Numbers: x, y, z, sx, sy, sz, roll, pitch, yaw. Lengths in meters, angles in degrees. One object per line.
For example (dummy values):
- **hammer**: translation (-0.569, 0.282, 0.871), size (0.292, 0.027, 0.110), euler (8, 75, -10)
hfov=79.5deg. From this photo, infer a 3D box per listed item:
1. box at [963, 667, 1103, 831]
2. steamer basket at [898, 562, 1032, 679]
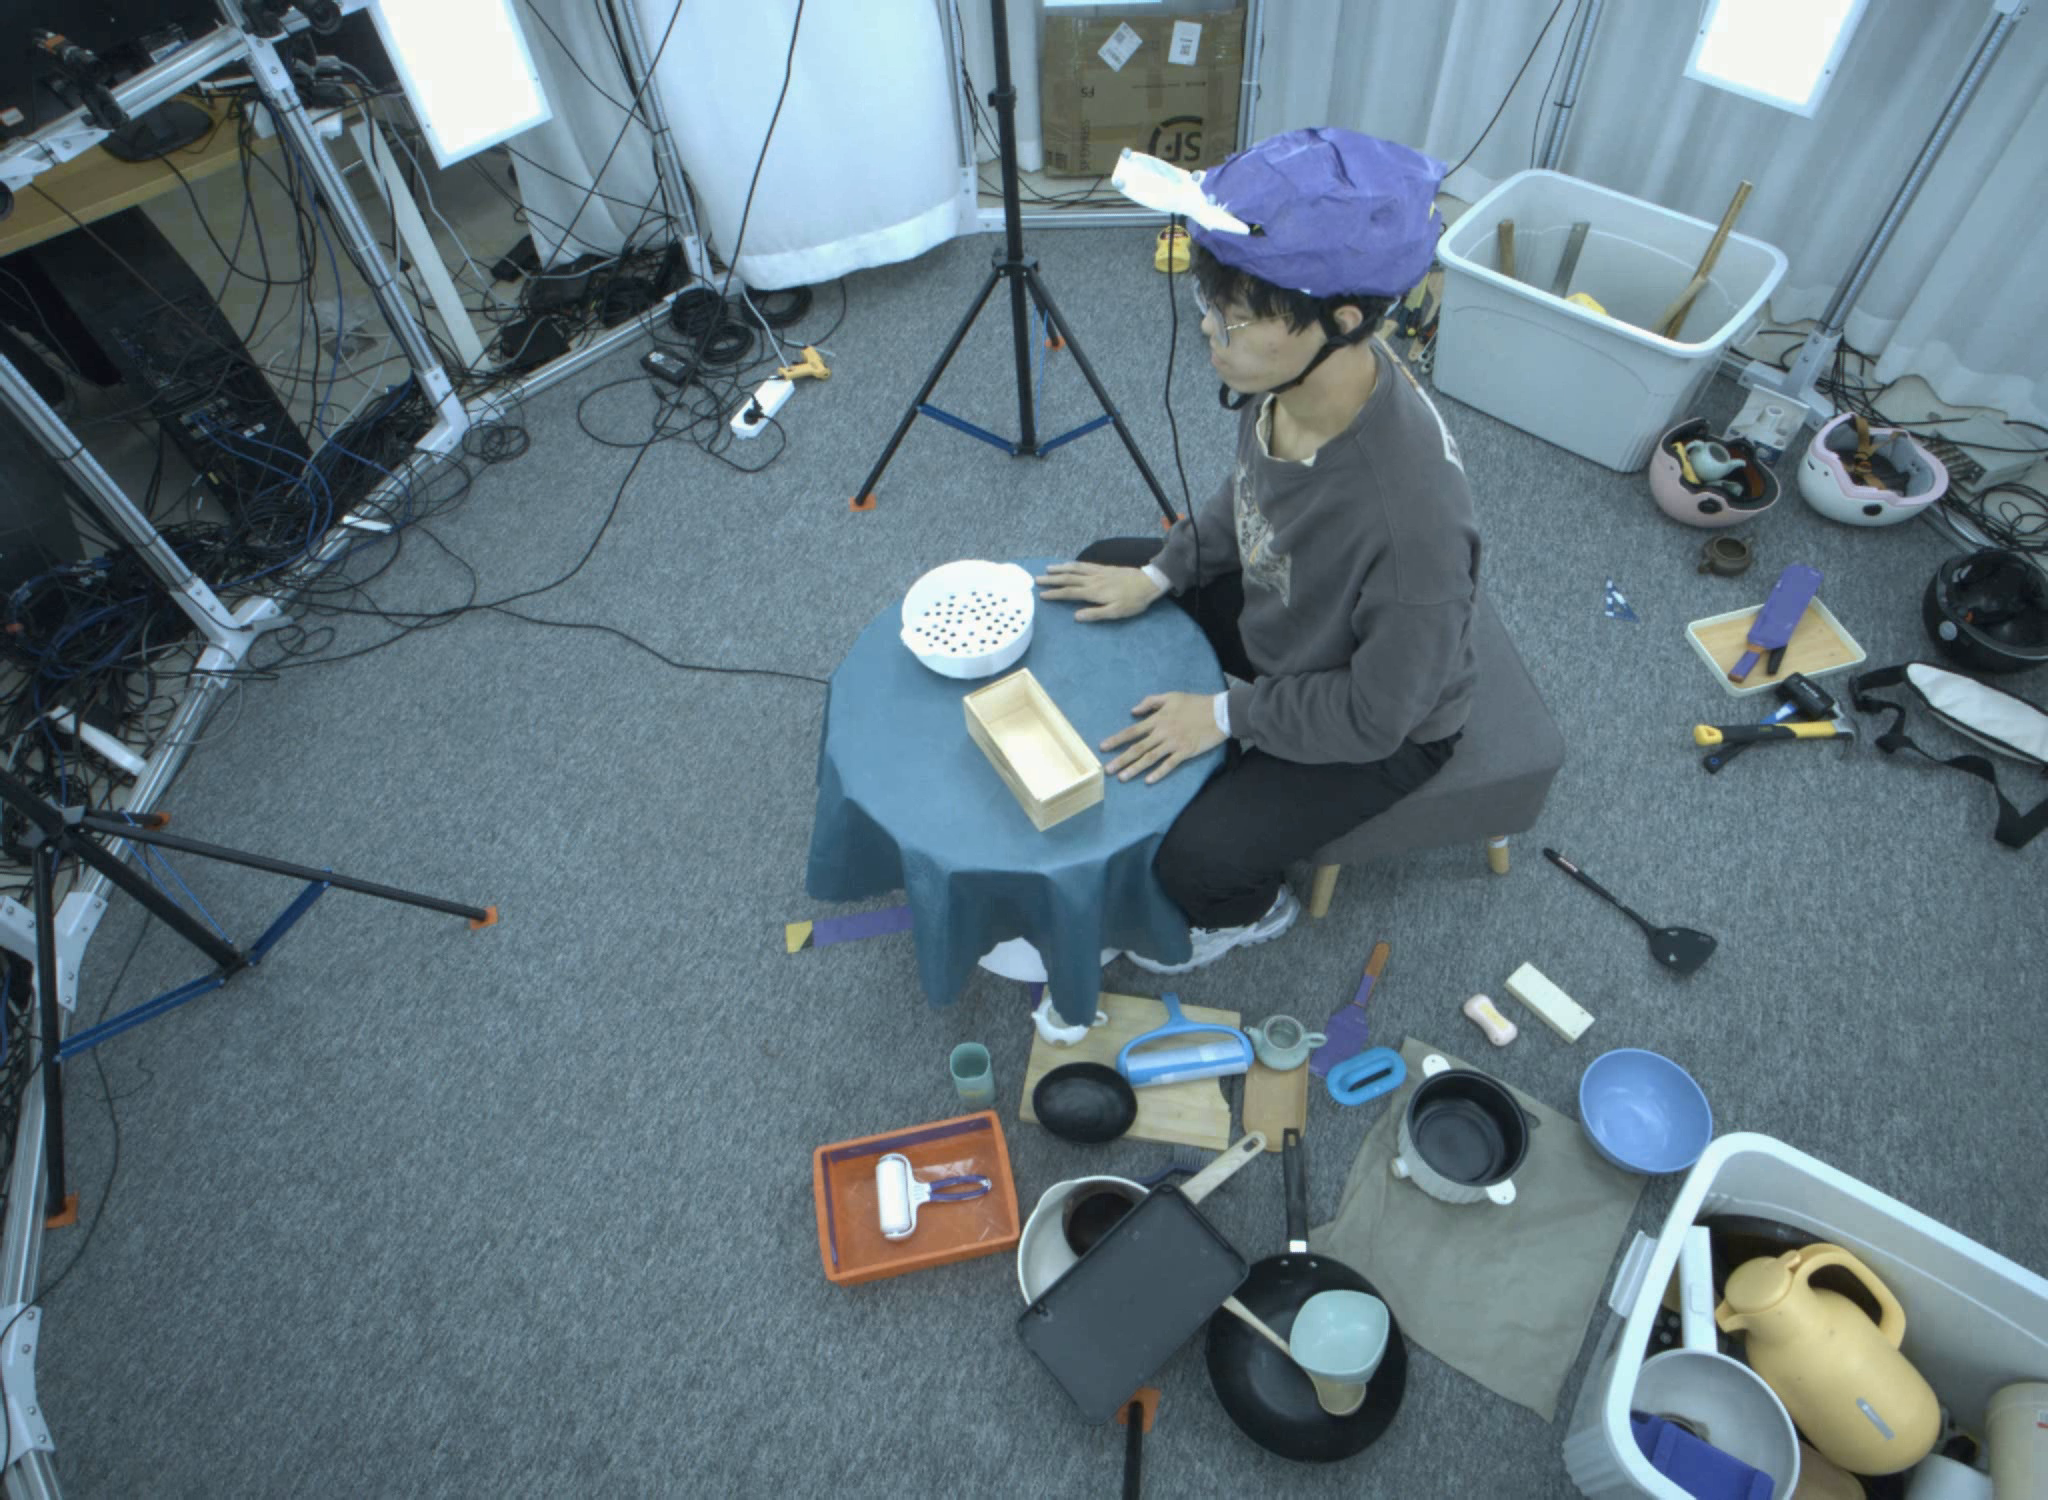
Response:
- **box**: translation (0.012, -0.004, 1.737), size (0.108, 0.081, 0.207), euler (-27, 58, -17)
- **steamer basket**: translation (-0.088, -0.198, 1.889), size (0.232, 0.070, 0.198), euler (-35, 61, -23)
